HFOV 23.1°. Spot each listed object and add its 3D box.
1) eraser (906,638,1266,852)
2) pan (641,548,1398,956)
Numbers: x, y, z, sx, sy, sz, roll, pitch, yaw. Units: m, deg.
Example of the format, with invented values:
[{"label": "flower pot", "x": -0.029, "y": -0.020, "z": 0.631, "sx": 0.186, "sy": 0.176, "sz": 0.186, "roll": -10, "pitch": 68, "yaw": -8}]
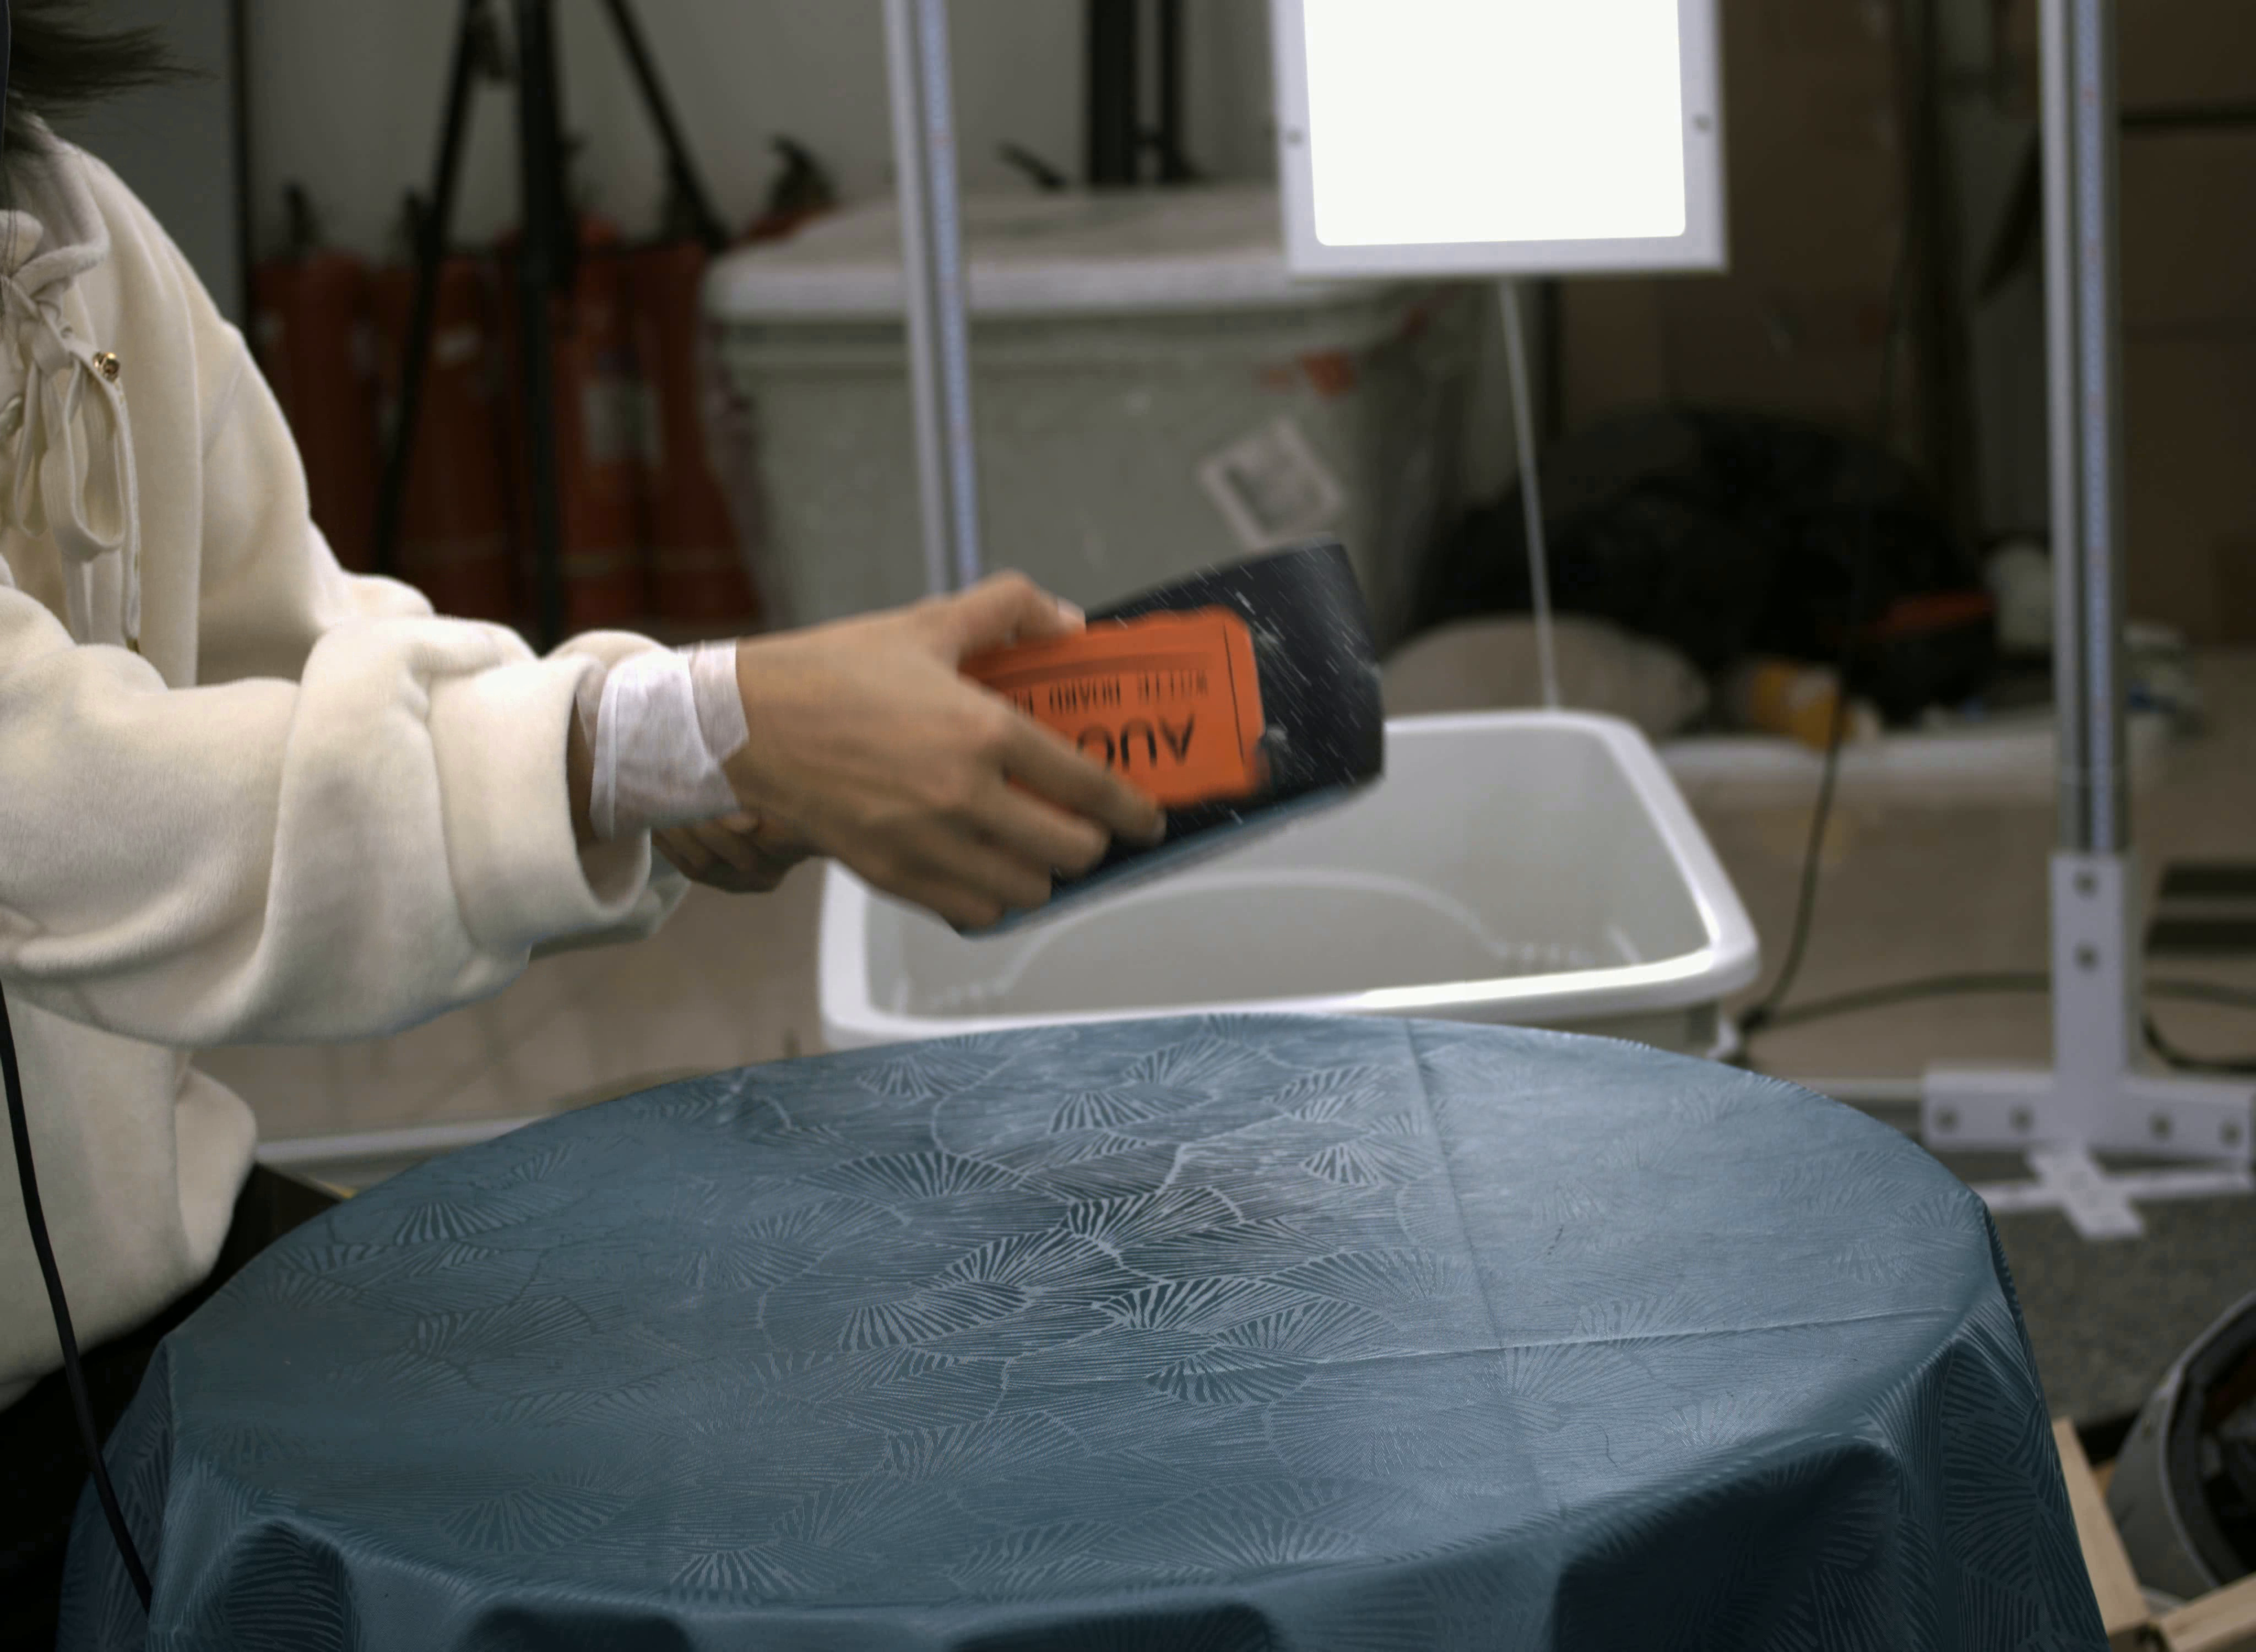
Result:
[{"label": "eraser", "x": -0.013, "y": -0.025, "z": 1.698, "sx": 0.108, "sy": 0.059, "sz": 0.022, "roll": -6, "pitch": -4, "yaw": 10}, {"label": "pan", "x": -0.051, "y": -0.010, "z": 1.914, "sx": 0.202, "sy": 0.108, "sz": 0.351, "roll": -19, "pitch": -1, "yaw": -44}]
